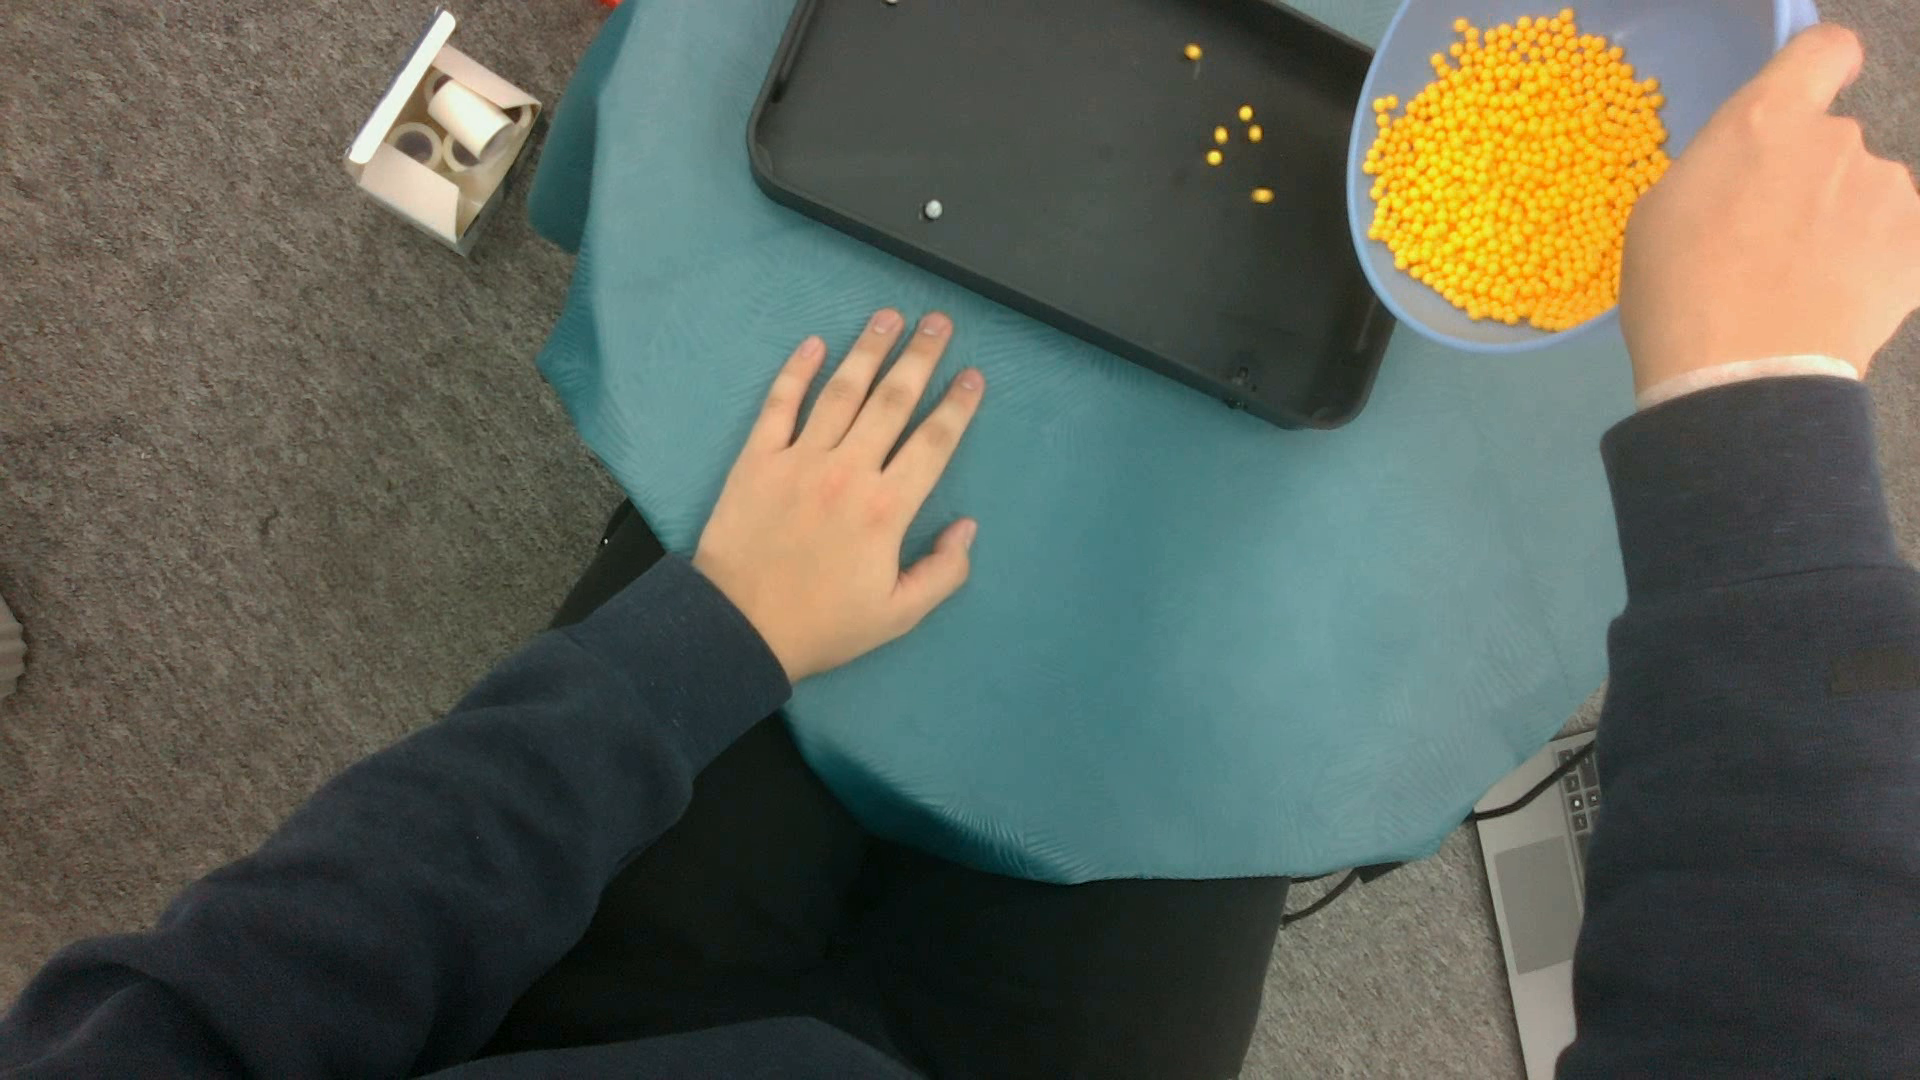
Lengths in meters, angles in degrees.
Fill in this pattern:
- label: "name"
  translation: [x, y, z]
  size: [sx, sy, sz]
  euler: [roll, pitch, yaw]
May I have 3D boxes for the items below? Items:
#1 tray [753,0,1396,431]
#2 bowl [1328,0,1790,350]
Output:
- label: "tray"
  translation: [0.074, -0.187, 0.669]
  size: [0.318, 0.037, 0.184]
  euler: [21, 84, -10]
- label: "bowl"
  translation: [0.262, -0.171, 0.584]
  size: [0.095, 0.196, 0.196]
  euler: [7, 86, -31]
